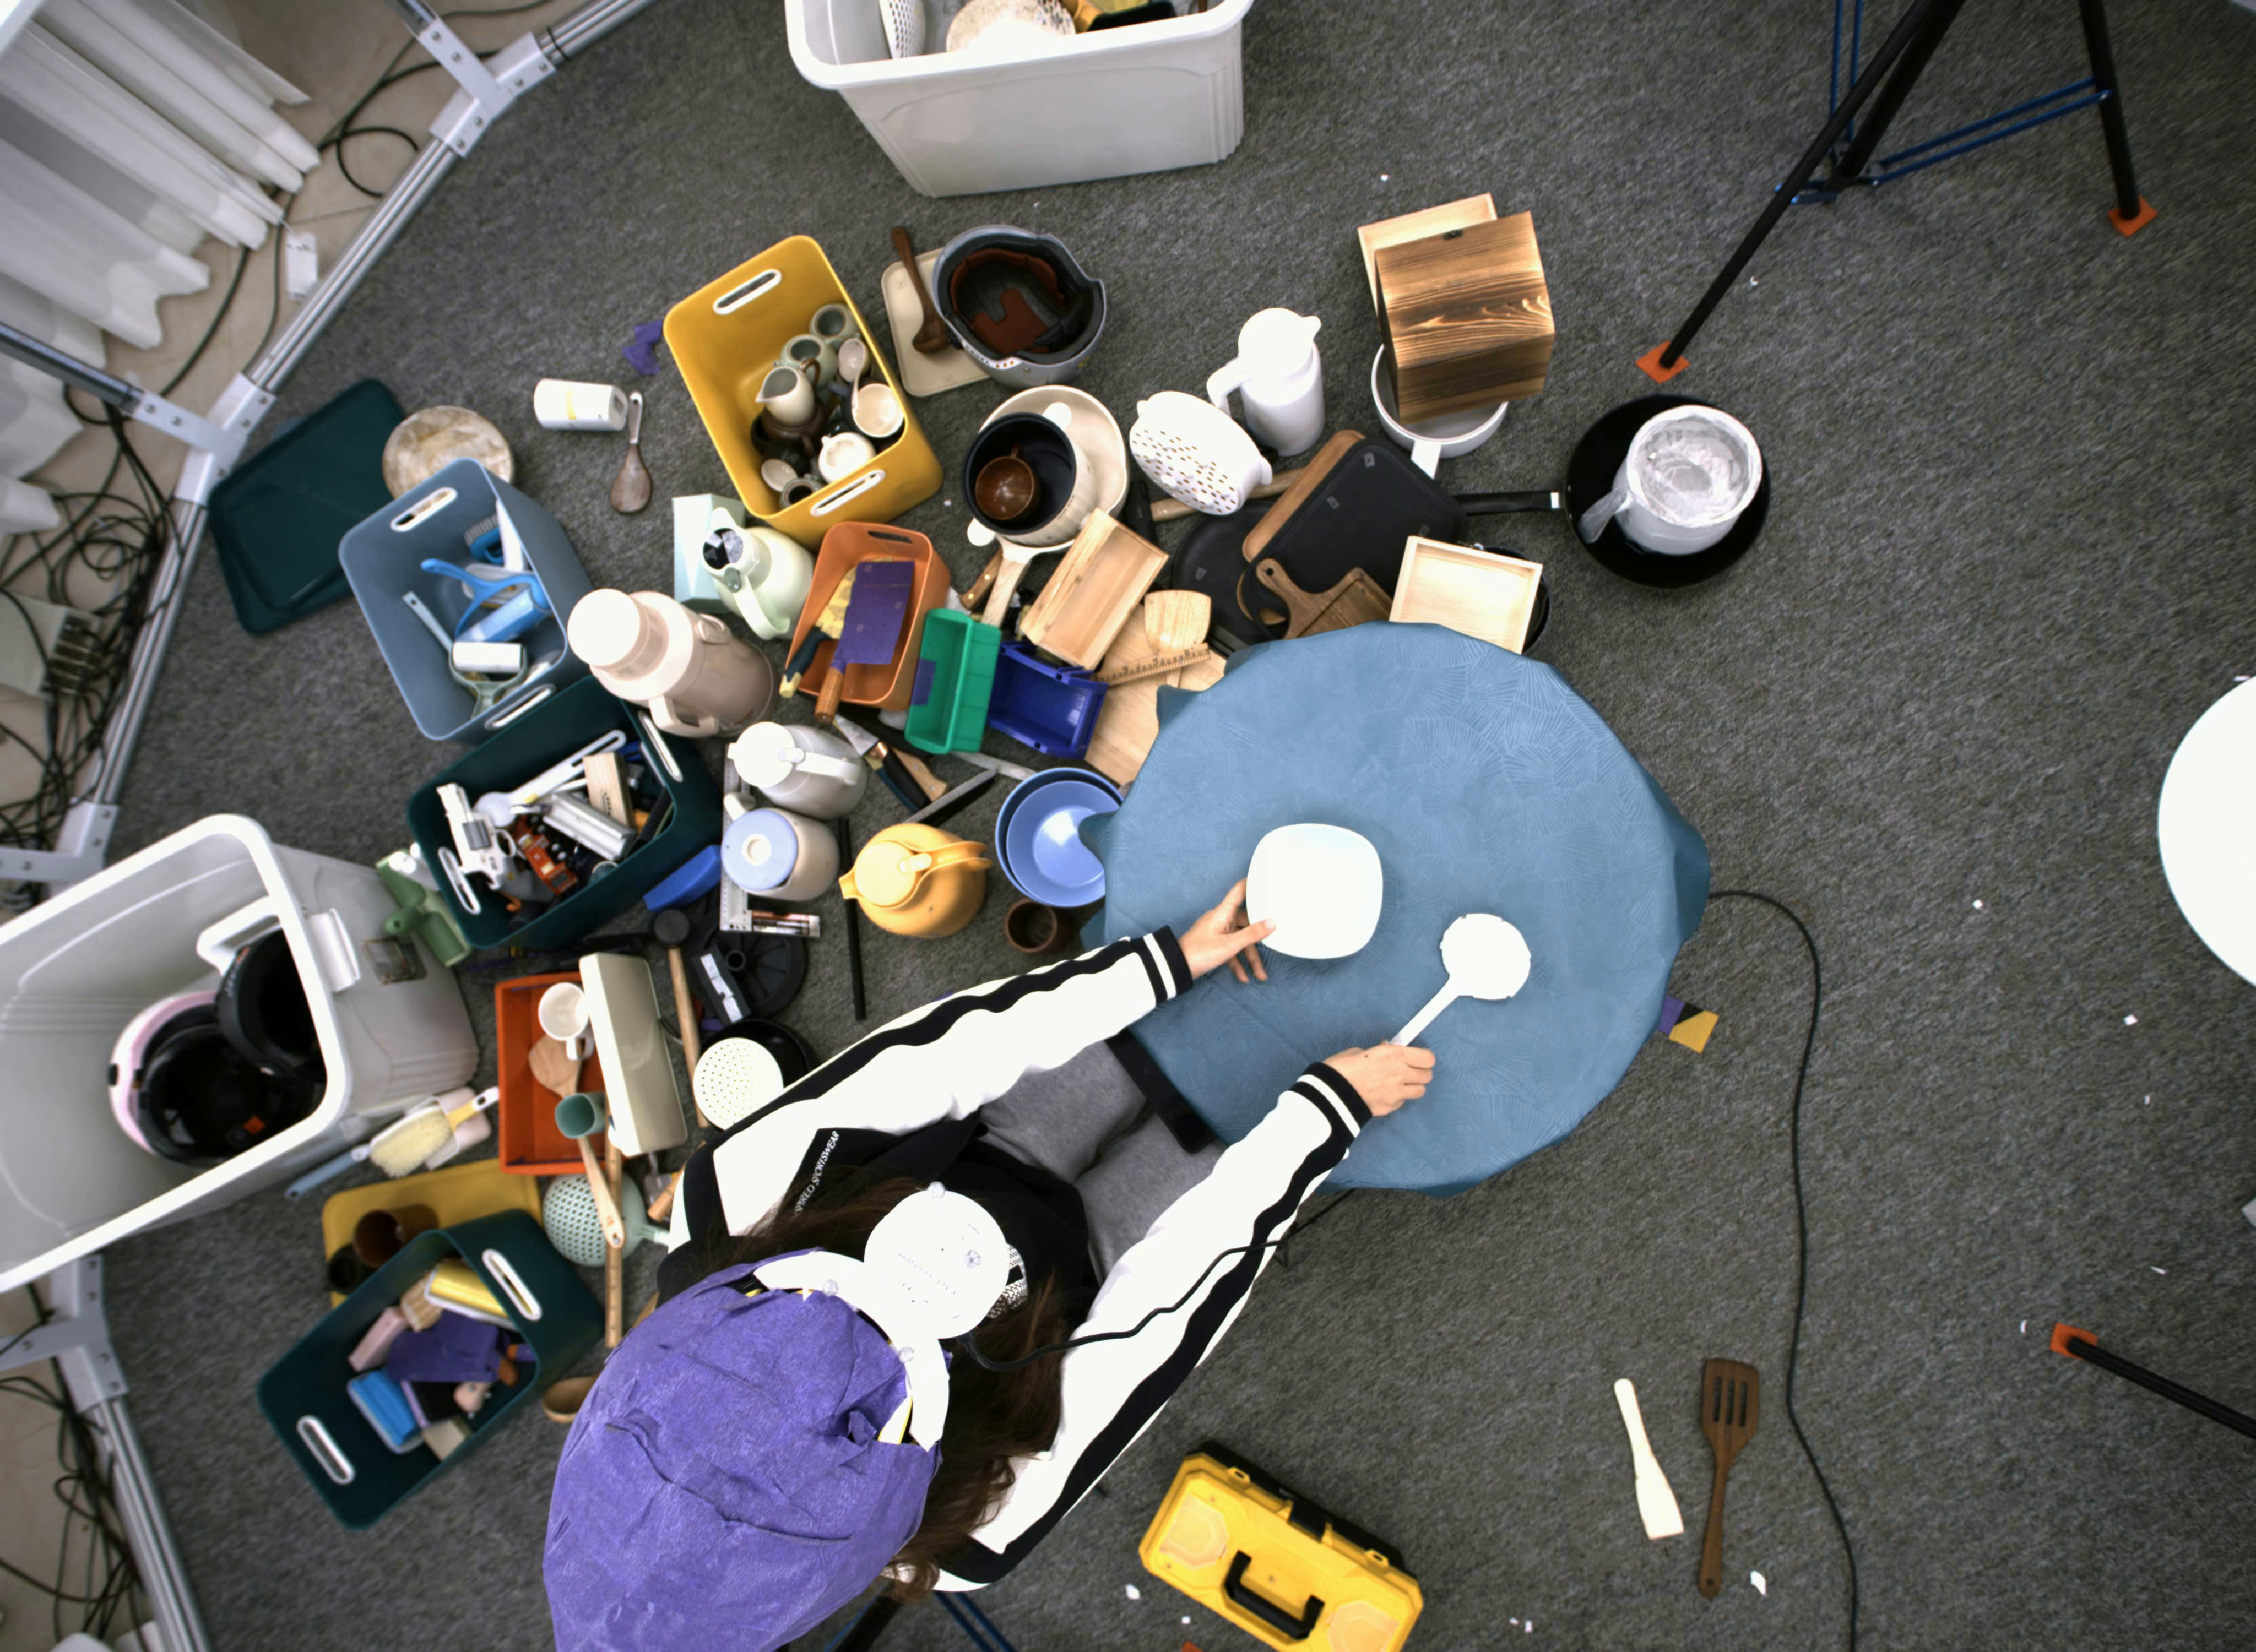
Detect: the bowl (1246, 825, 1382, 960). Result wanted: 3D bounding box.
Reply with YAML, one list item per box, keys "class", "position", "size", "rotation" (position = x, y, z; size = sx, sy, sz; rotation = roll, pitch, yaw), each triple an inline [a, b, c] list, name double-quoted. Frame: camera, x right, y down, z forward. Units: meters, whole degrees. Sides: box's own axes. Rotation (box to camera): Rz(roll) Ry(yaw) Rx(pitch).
- class: "bowl"
  position: [0.195, 0.070, 1.447]
  size: [0.152, 0.059, 0.150]
  rotation: [-1, 86, 10]

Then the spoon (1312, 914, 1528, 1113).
- class: "spoon"
  position: [0.289, 0.197, 1.421]
  size: [0.279, 0.059, 0.100]
  rotation: [-42, 74, 6]
